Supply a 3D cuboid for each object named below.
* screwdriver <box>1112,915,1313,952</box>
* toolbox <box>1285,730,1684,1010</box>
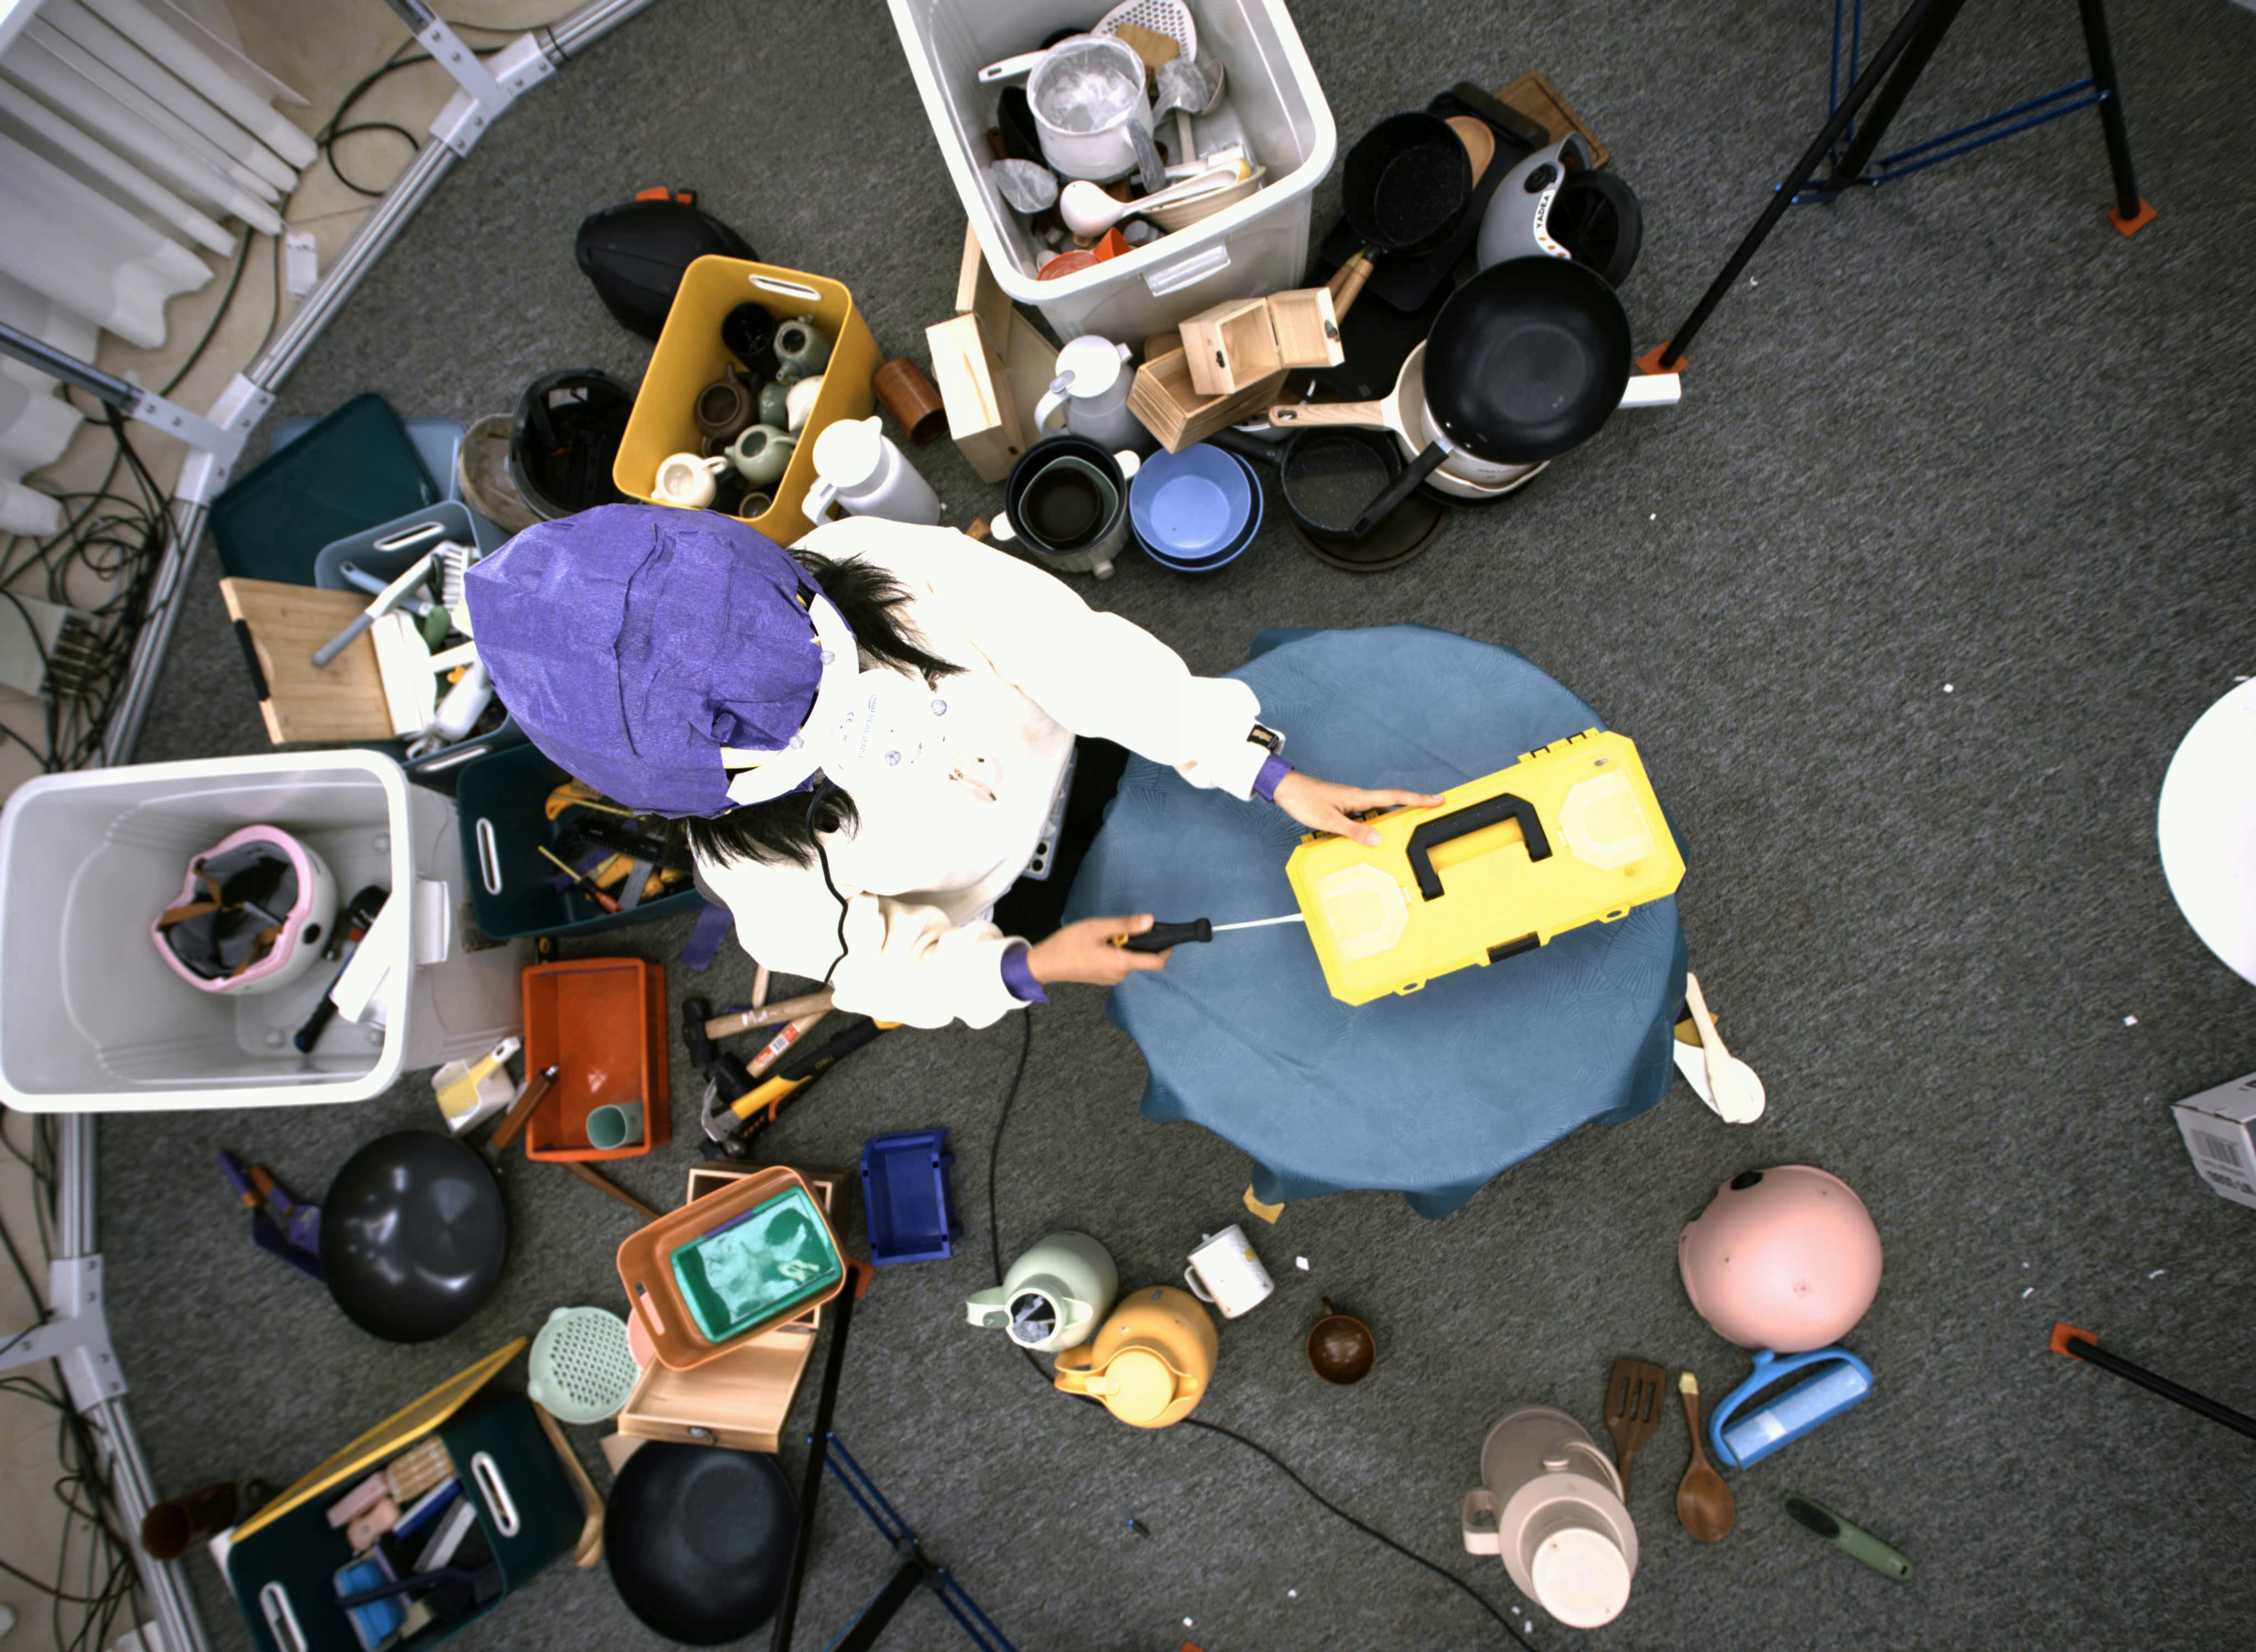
[{"bbox_3d":[0.080,0.096,1.342,0.199,0.031,0.031,-10,83,13],"label":"screwdriver"},{"bbox_3d":[0.345,0.045,1.360,0.353,0.173,0.180,-20,82,8],"label":"toolbox"}]
